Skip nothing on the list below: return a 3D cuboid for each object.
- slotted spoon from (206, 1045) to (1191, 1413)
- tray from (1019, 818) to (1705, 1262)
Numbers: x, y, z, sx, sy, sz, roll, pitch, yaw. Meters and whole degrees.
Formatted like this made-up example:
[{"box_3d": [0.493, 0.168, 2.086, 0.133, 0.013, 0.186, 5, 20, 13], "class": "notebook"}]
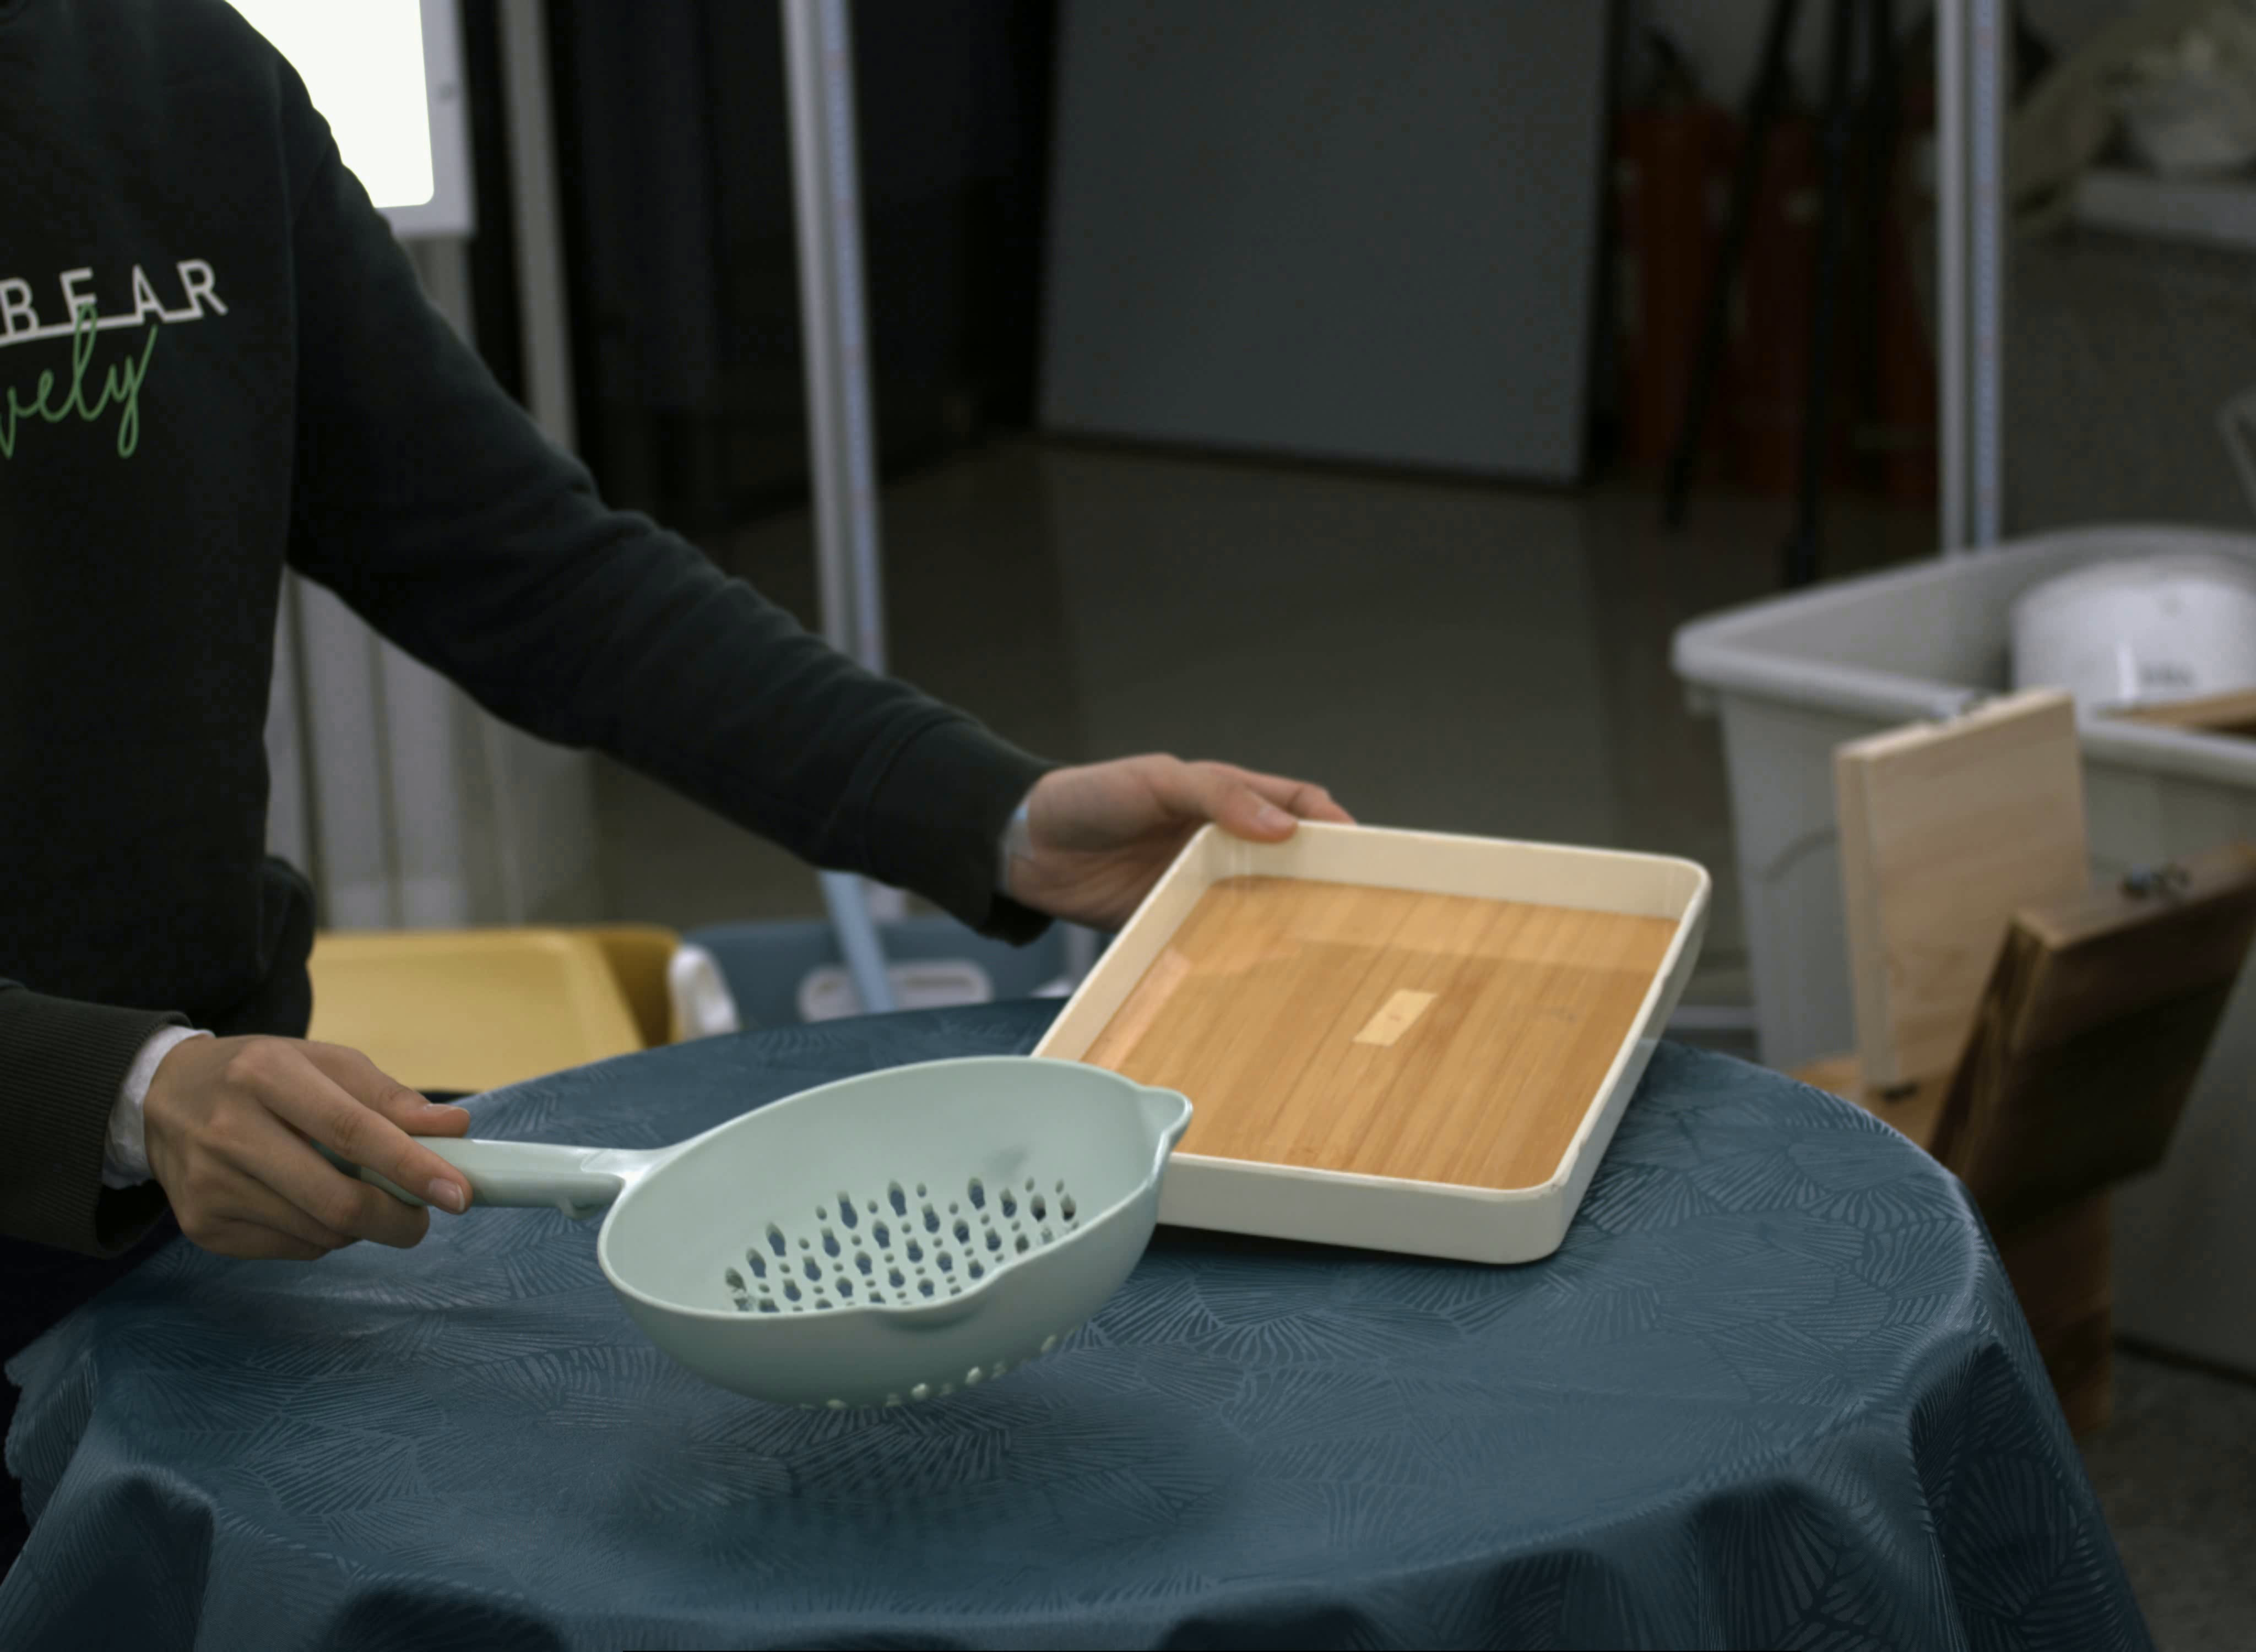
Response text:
[{"box_3d": [-0.146, 0.111, 1.611, 0.361, 0.076, 0.167, 10, 28, 33], "class": "slotted spoon"}, {"box_3d": [0.080, 0.067, 1.819, 0.191, 0.028, 0.298, 5, 21, 16], "class": "tray"}]
